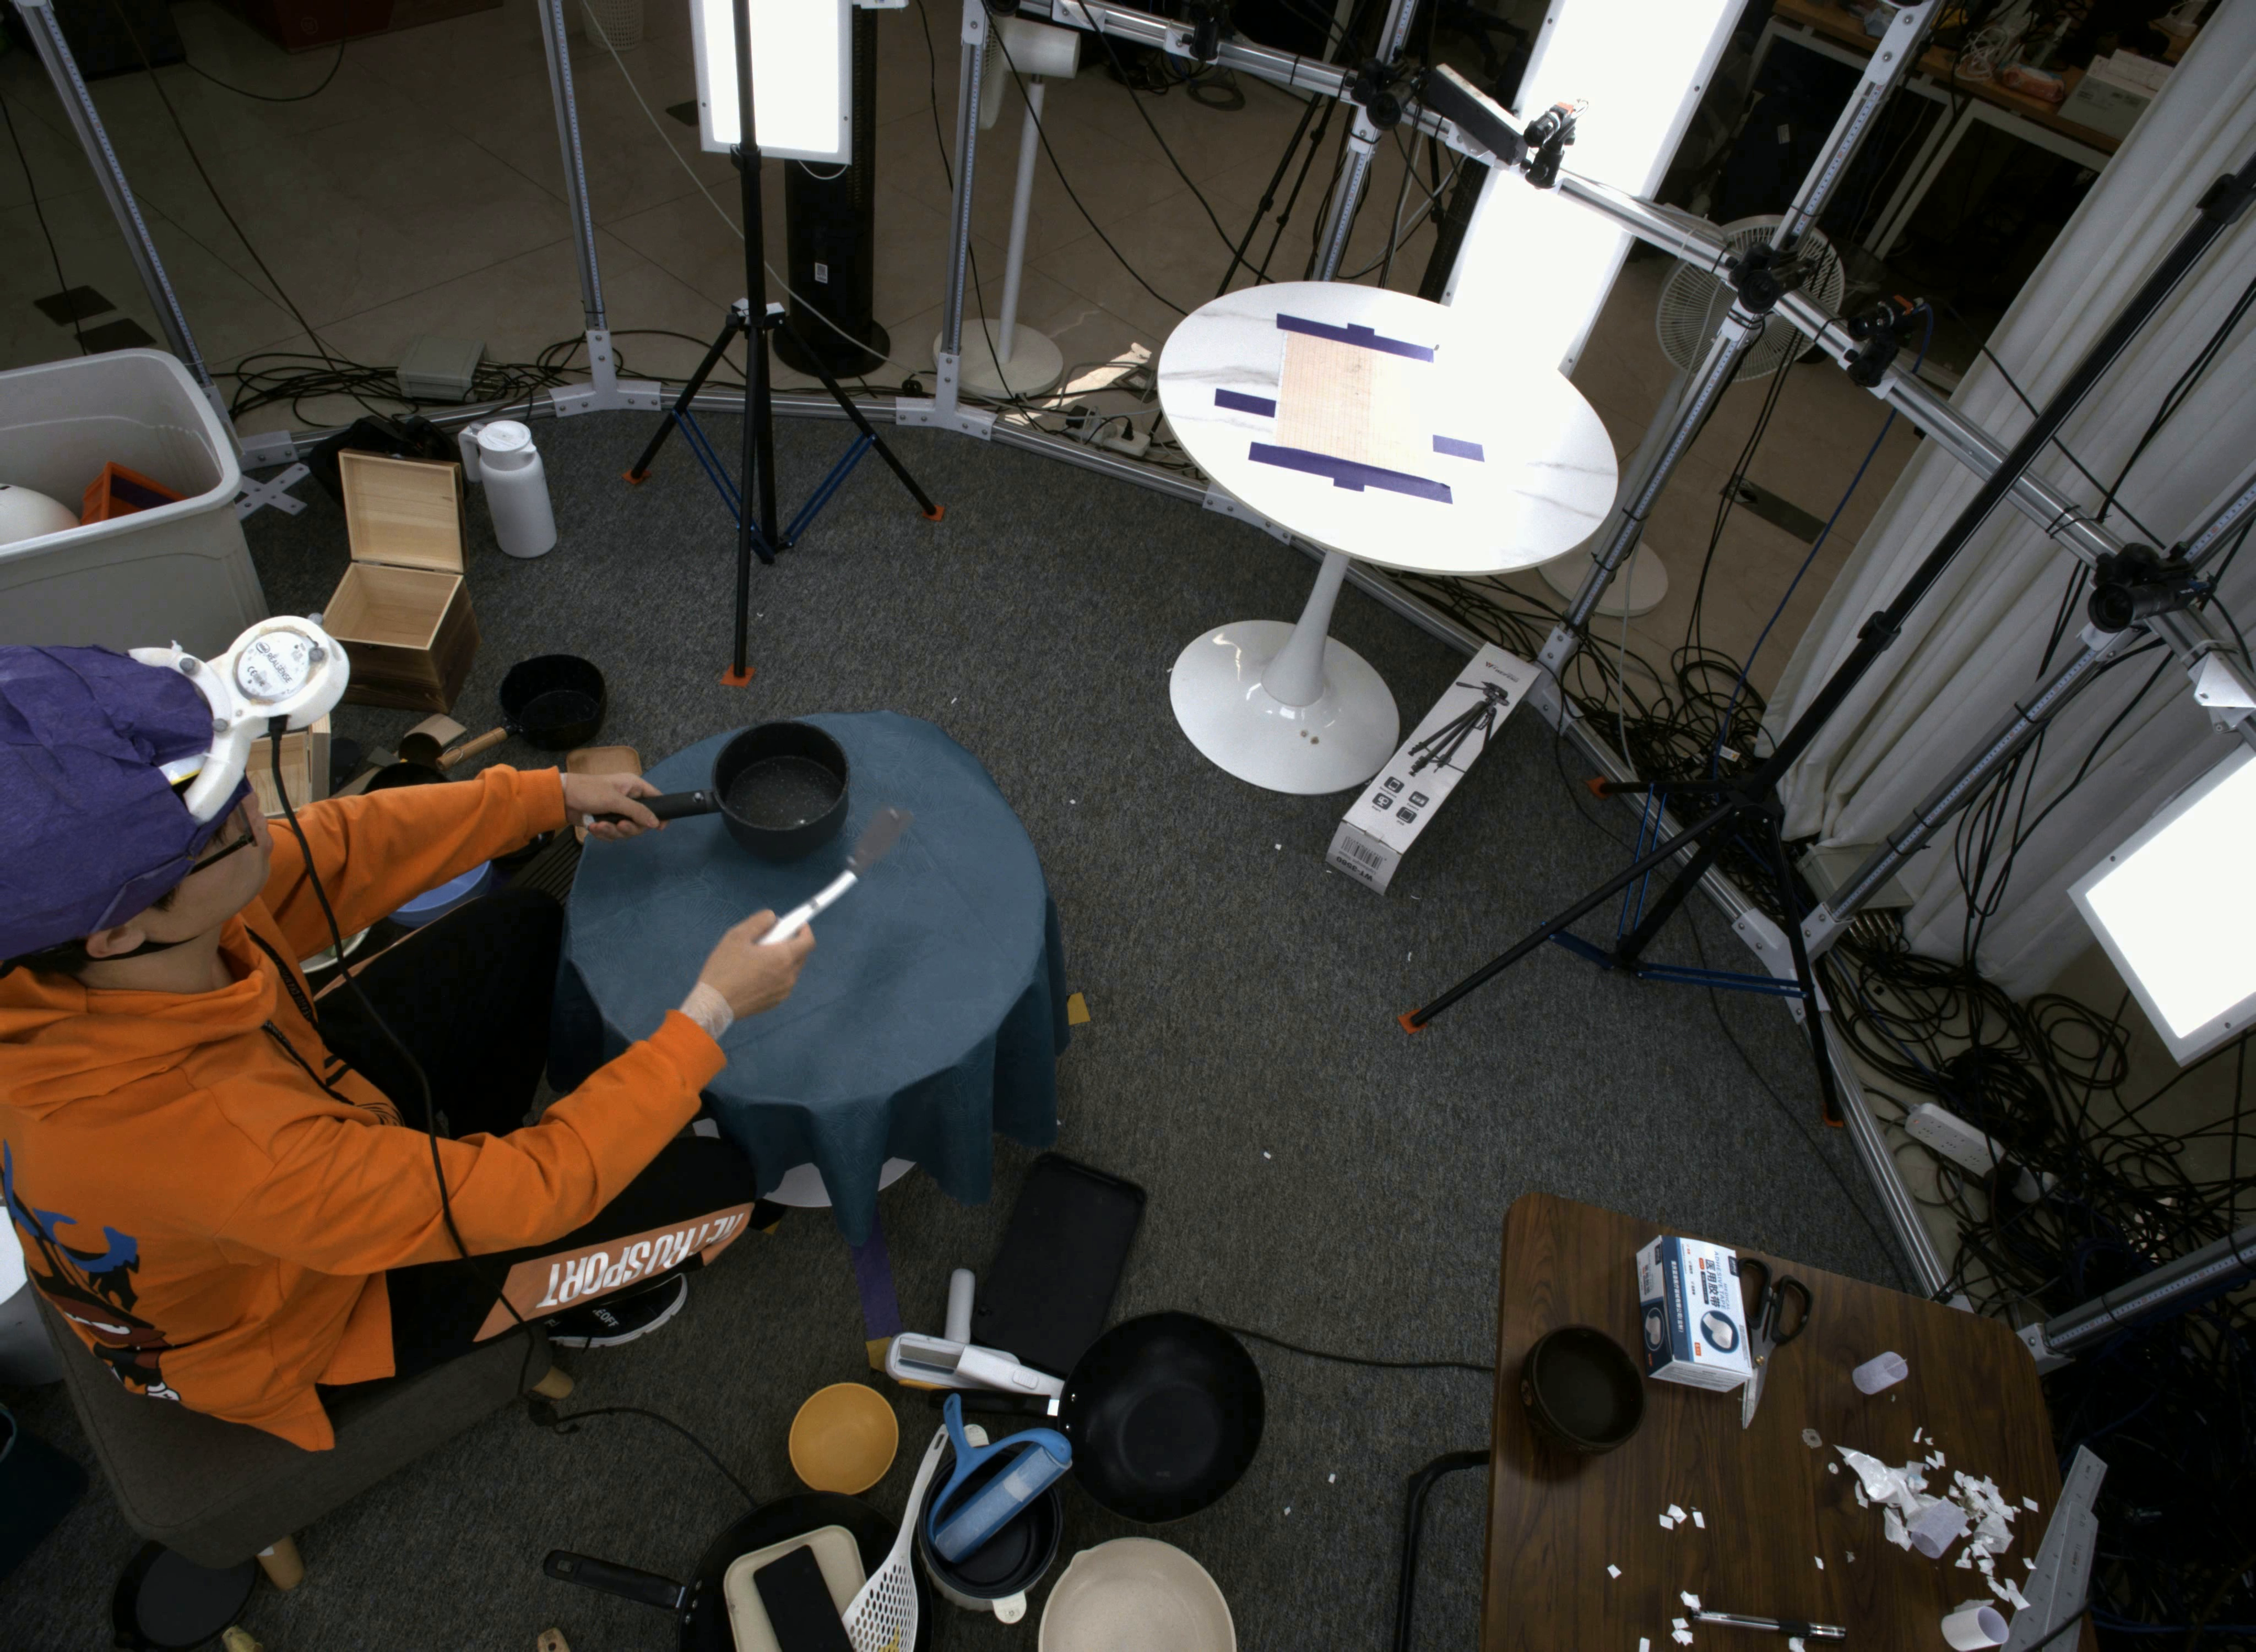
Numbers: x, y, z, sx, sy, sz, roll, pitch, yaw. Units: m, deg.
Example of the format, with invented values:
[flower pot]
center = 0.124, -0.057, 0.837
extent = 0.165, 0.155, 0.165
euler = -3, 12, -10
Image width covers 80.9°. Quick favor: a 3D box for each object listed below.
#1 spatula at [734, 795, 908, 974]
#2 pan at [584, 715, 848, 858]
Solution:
[spatula]
center = -0.341, 0.057, 1.458
extent = 0.057, 0.033, 0.286
euler = 4, 40, 30
[pan]
center = -0.514, -0.033, 1.615
extent = 0.330, 0.088, 0.168
euler = -12, 60, -20
